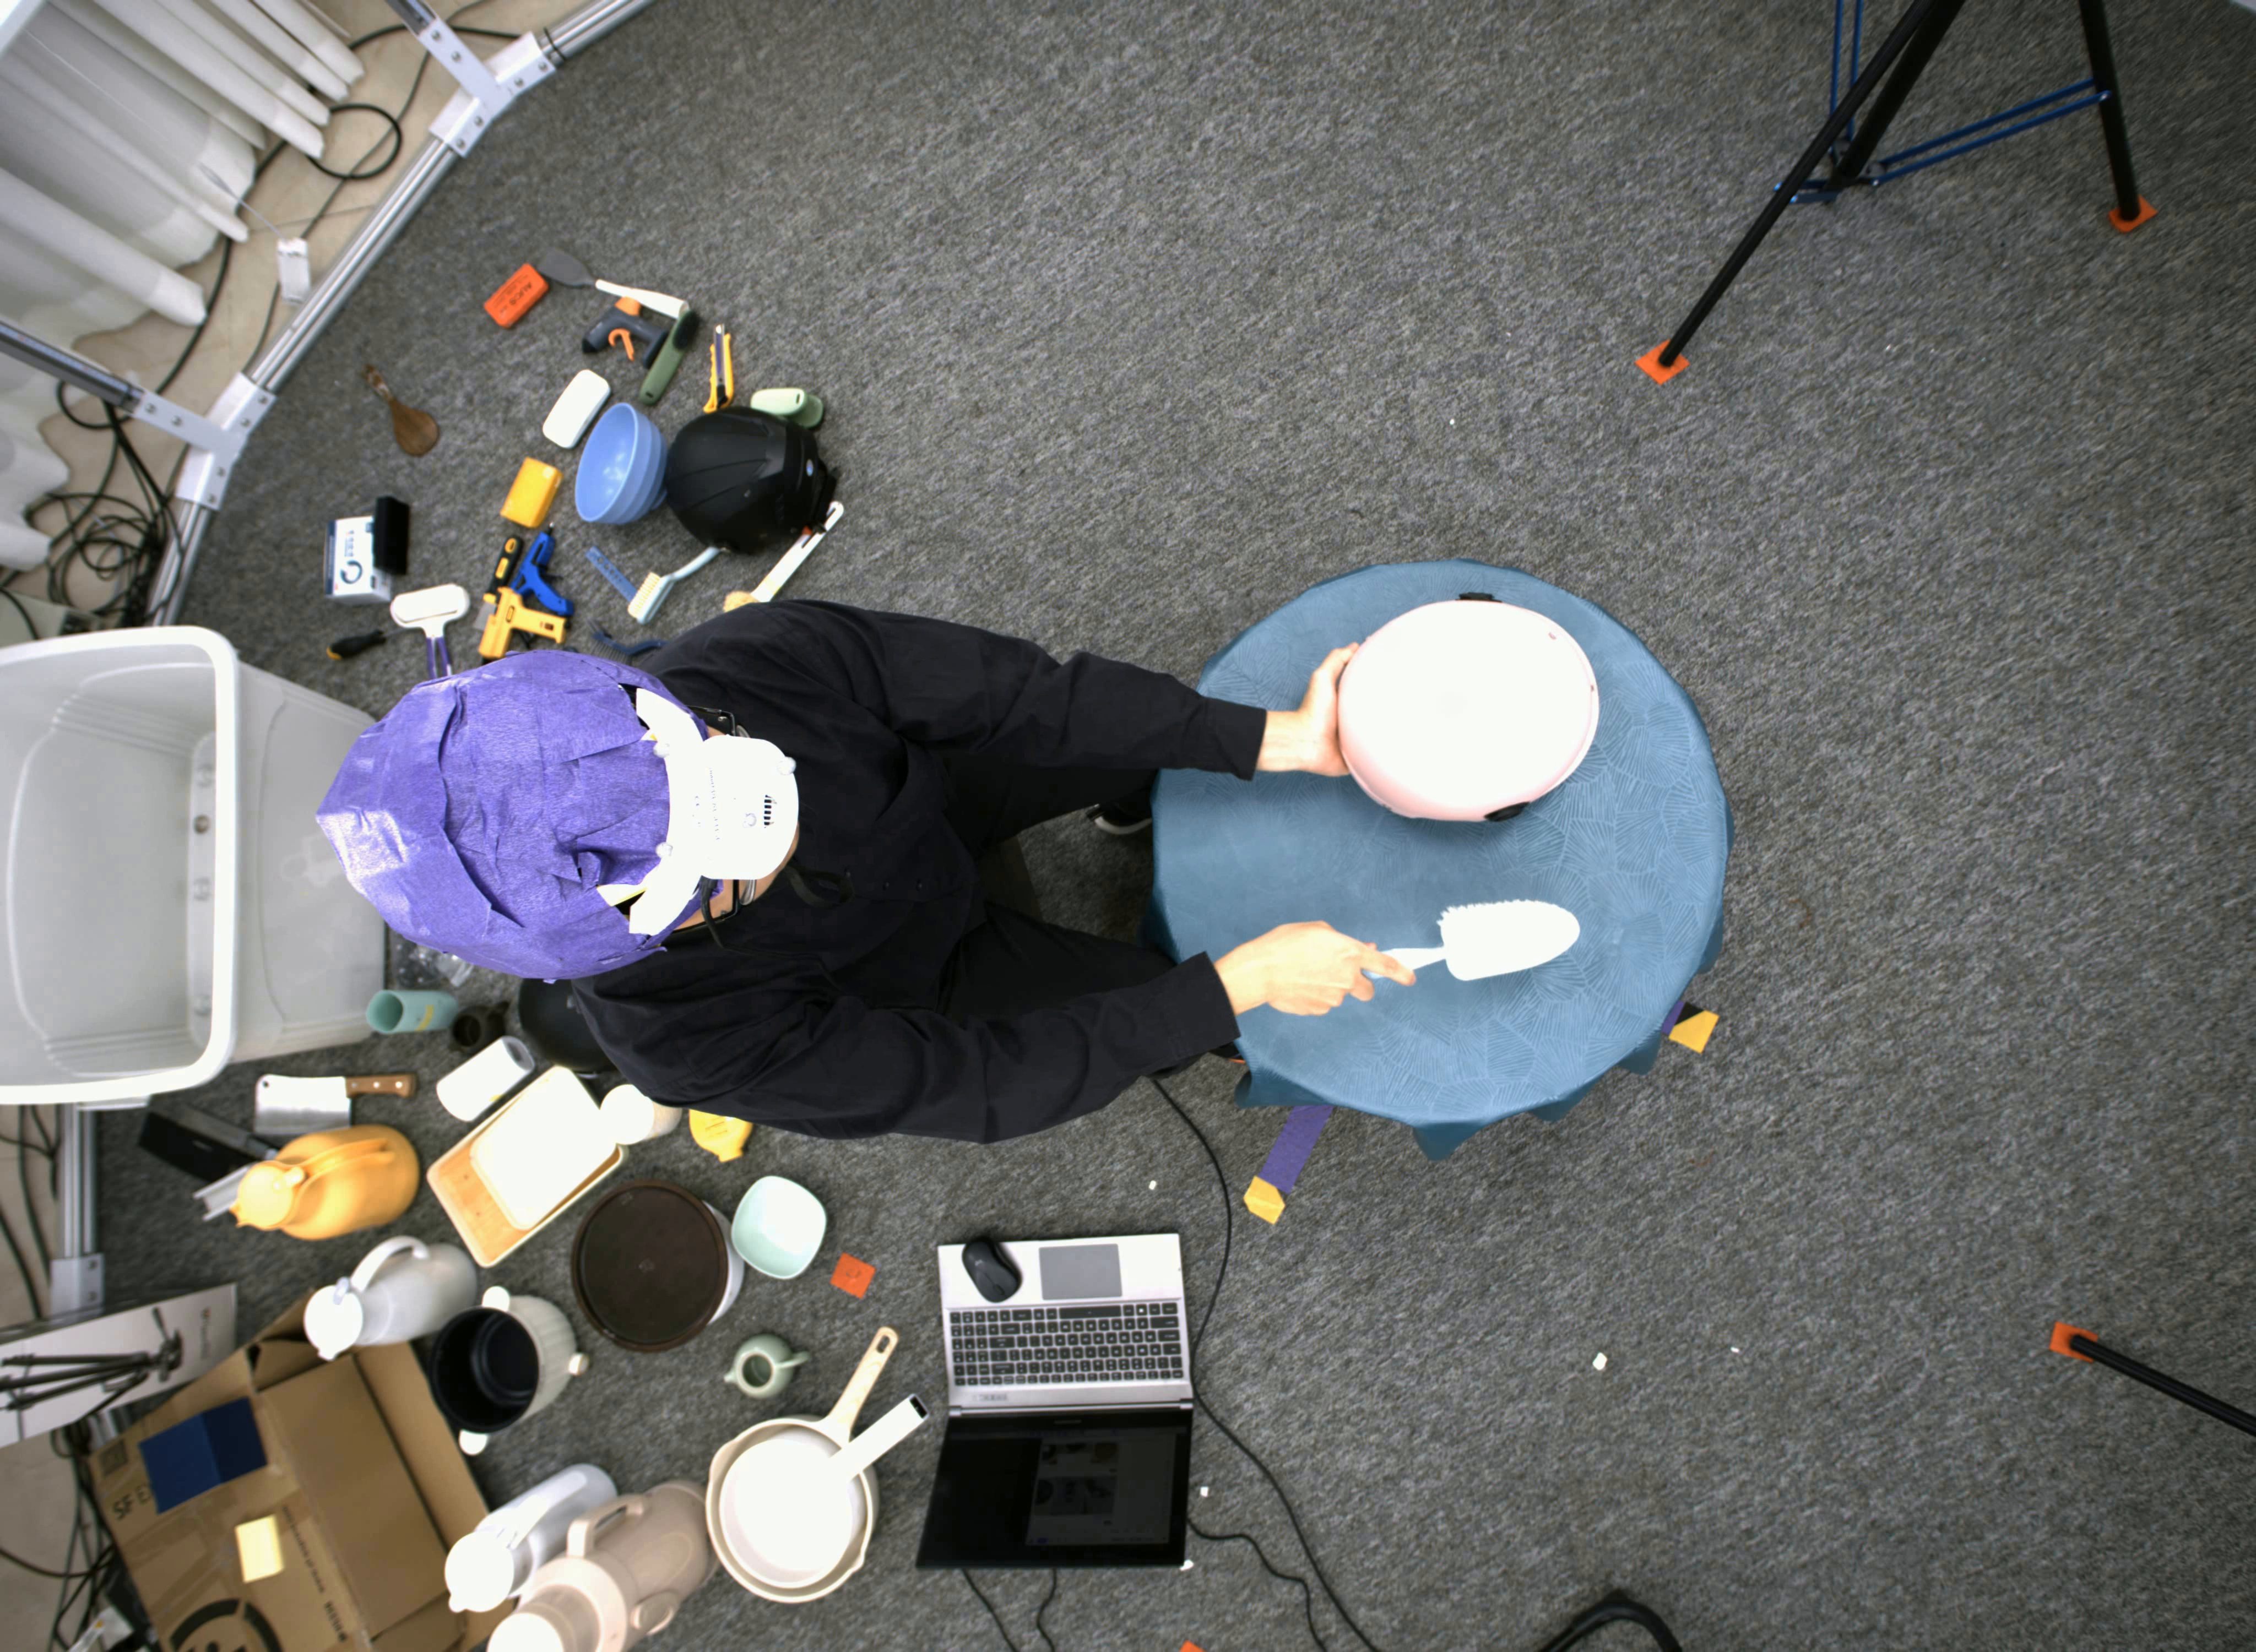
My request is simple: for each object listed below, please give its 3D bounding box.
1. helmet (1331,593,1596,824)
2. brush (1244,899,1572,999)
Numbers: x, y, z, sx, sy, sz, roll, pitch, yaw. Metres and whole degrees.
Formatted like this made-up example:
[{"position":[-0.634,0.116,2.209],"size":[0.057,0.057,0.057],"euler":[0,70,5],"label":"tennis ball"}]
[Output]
[{"position":[0.331,-0.118,1.333],"size":[0.267,0.158,0.234],"euler":[-8,90,9],"label":"helmet"},{"position":[0.269,0.120,1.345],"size":[0.326,0.086,0.081],"euler":[-11,54,-1],"label":"brush"}]
